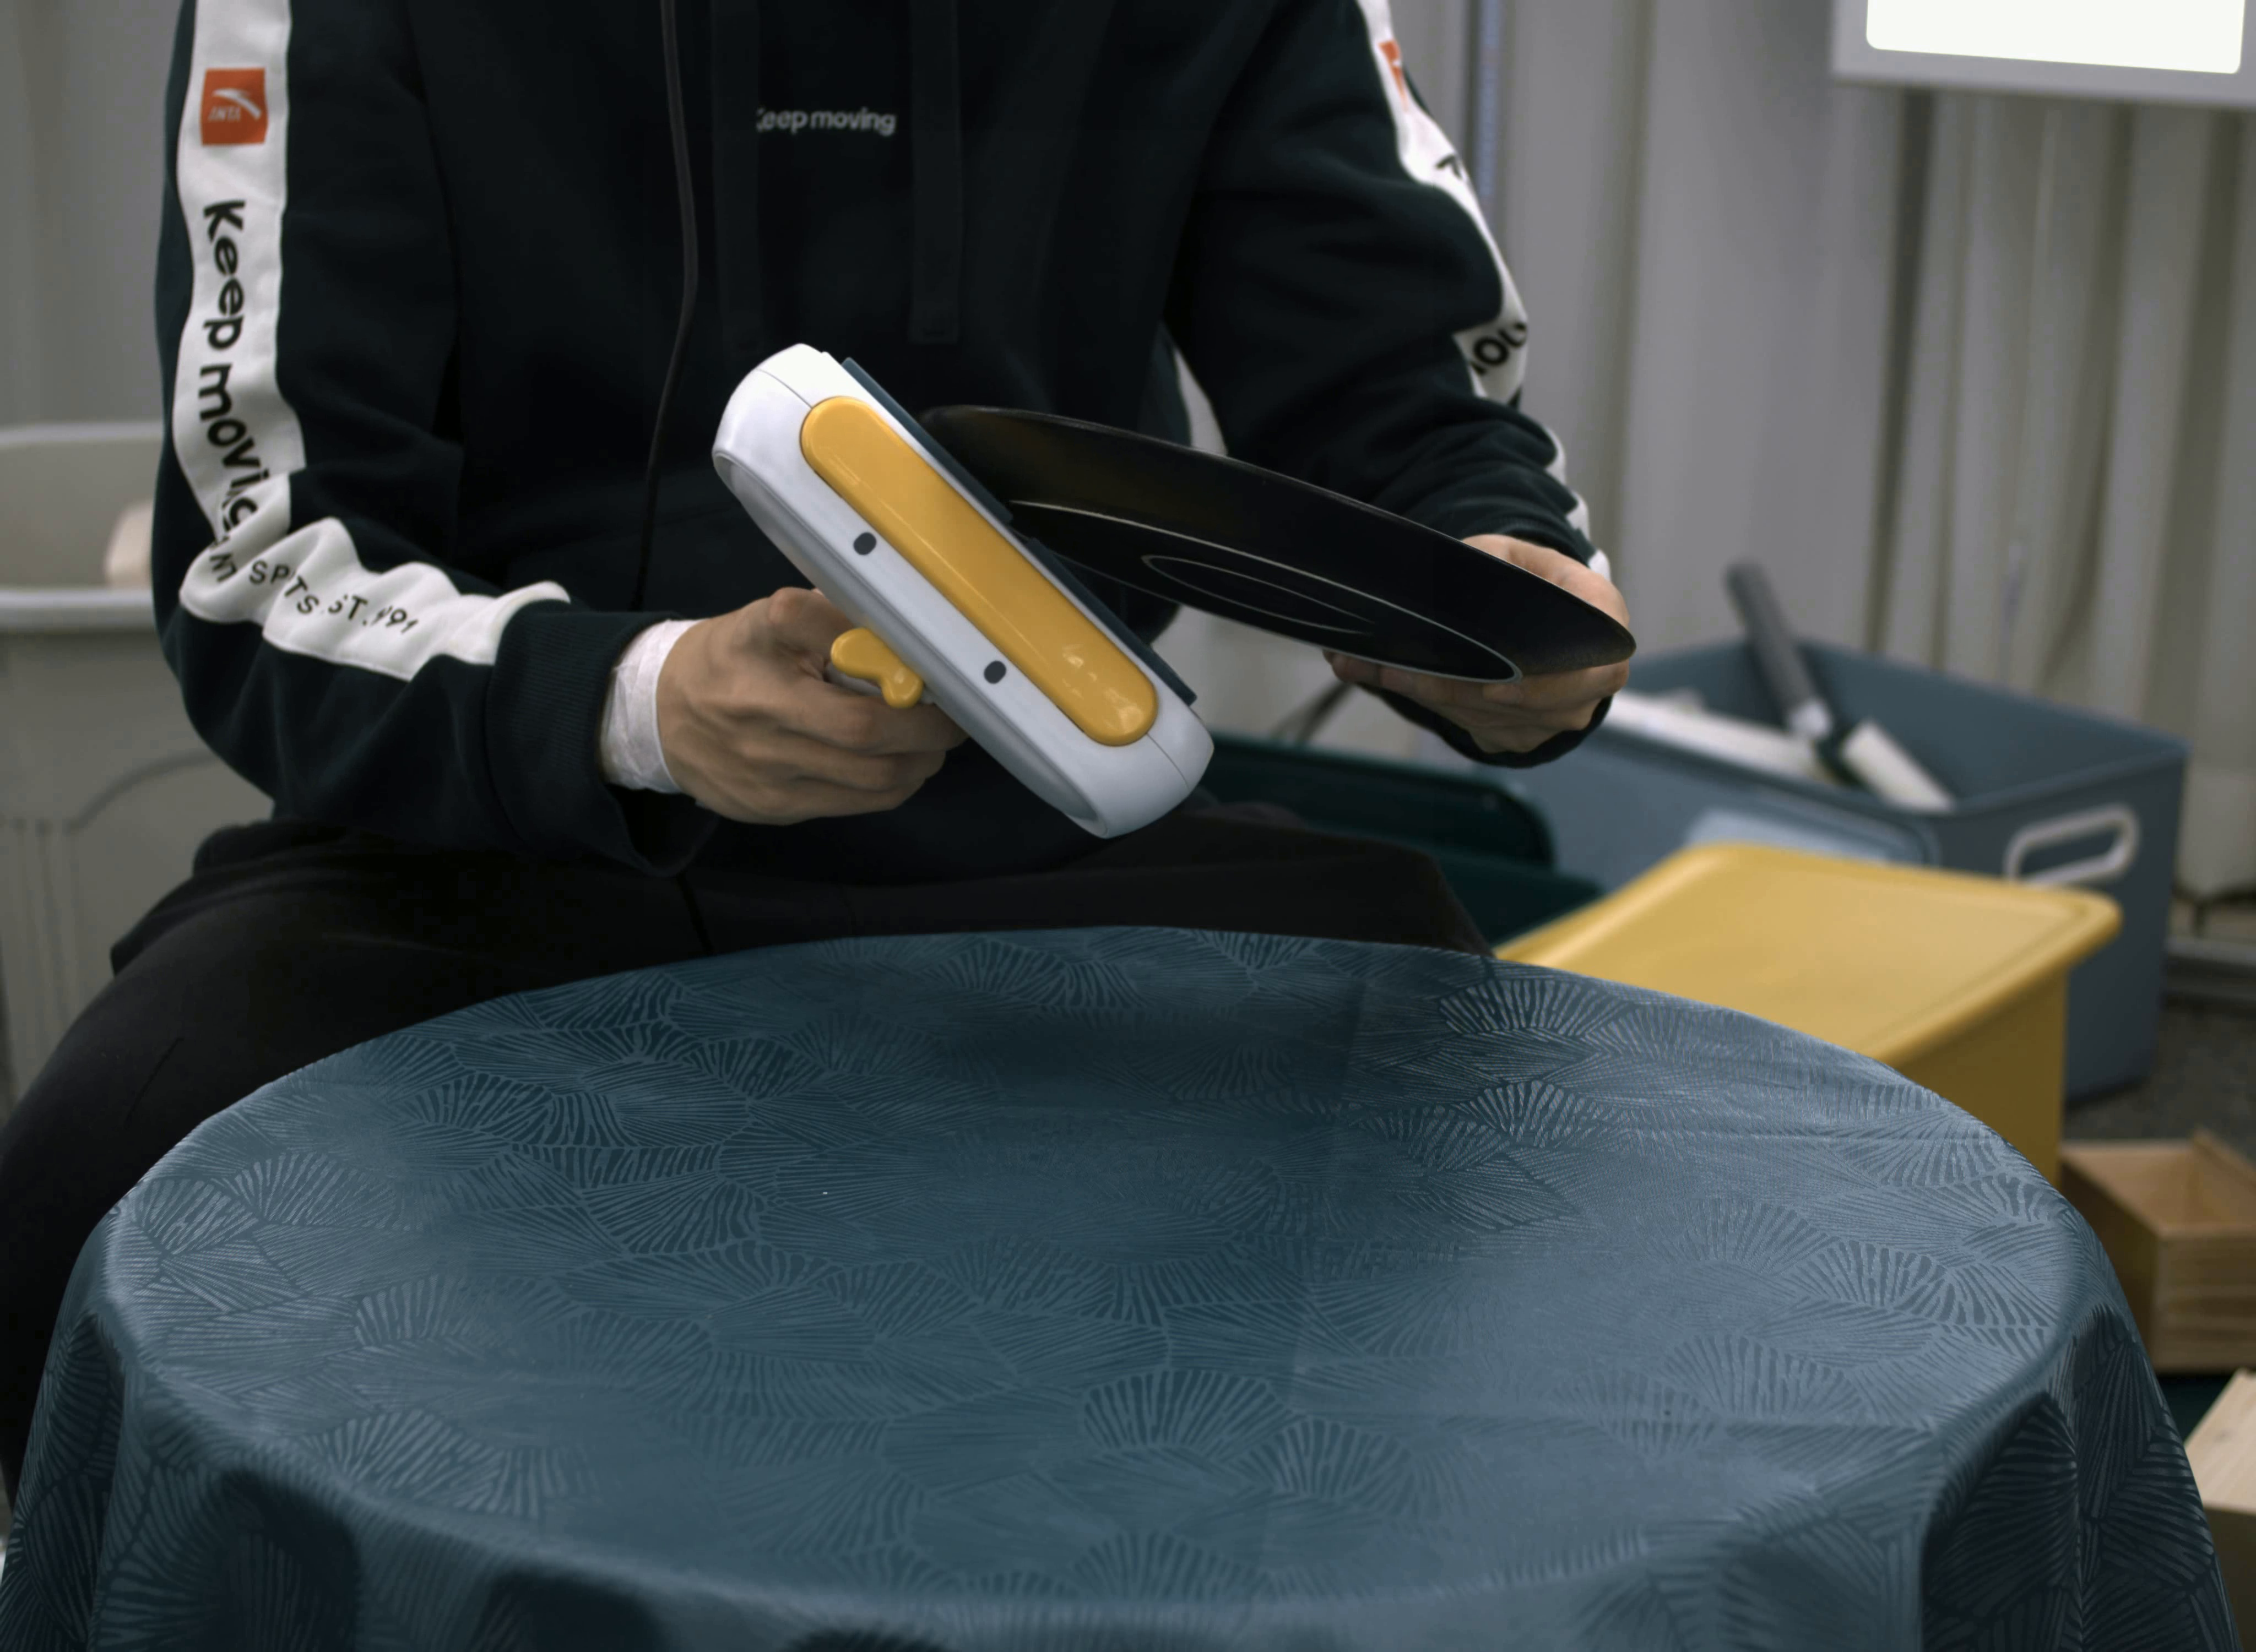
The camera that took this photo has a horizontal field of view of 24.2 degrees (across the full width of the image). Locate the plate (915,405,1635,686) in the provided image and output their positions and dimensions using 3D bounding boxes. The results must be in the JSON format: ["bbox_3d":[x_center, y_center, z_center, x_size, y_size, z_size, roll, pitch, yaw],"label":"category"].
[{"bbox_3d":[0.044,-0.085,1.694,0.243,0.023,0.245,18,-5,2],"label":"plate"}]

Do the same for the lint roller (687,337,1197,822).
[{"bbox_3d":[-0.073,-0.058,1.727,0.192,0.074,0.193,38,-18,1],"label":"lint roller"}]
